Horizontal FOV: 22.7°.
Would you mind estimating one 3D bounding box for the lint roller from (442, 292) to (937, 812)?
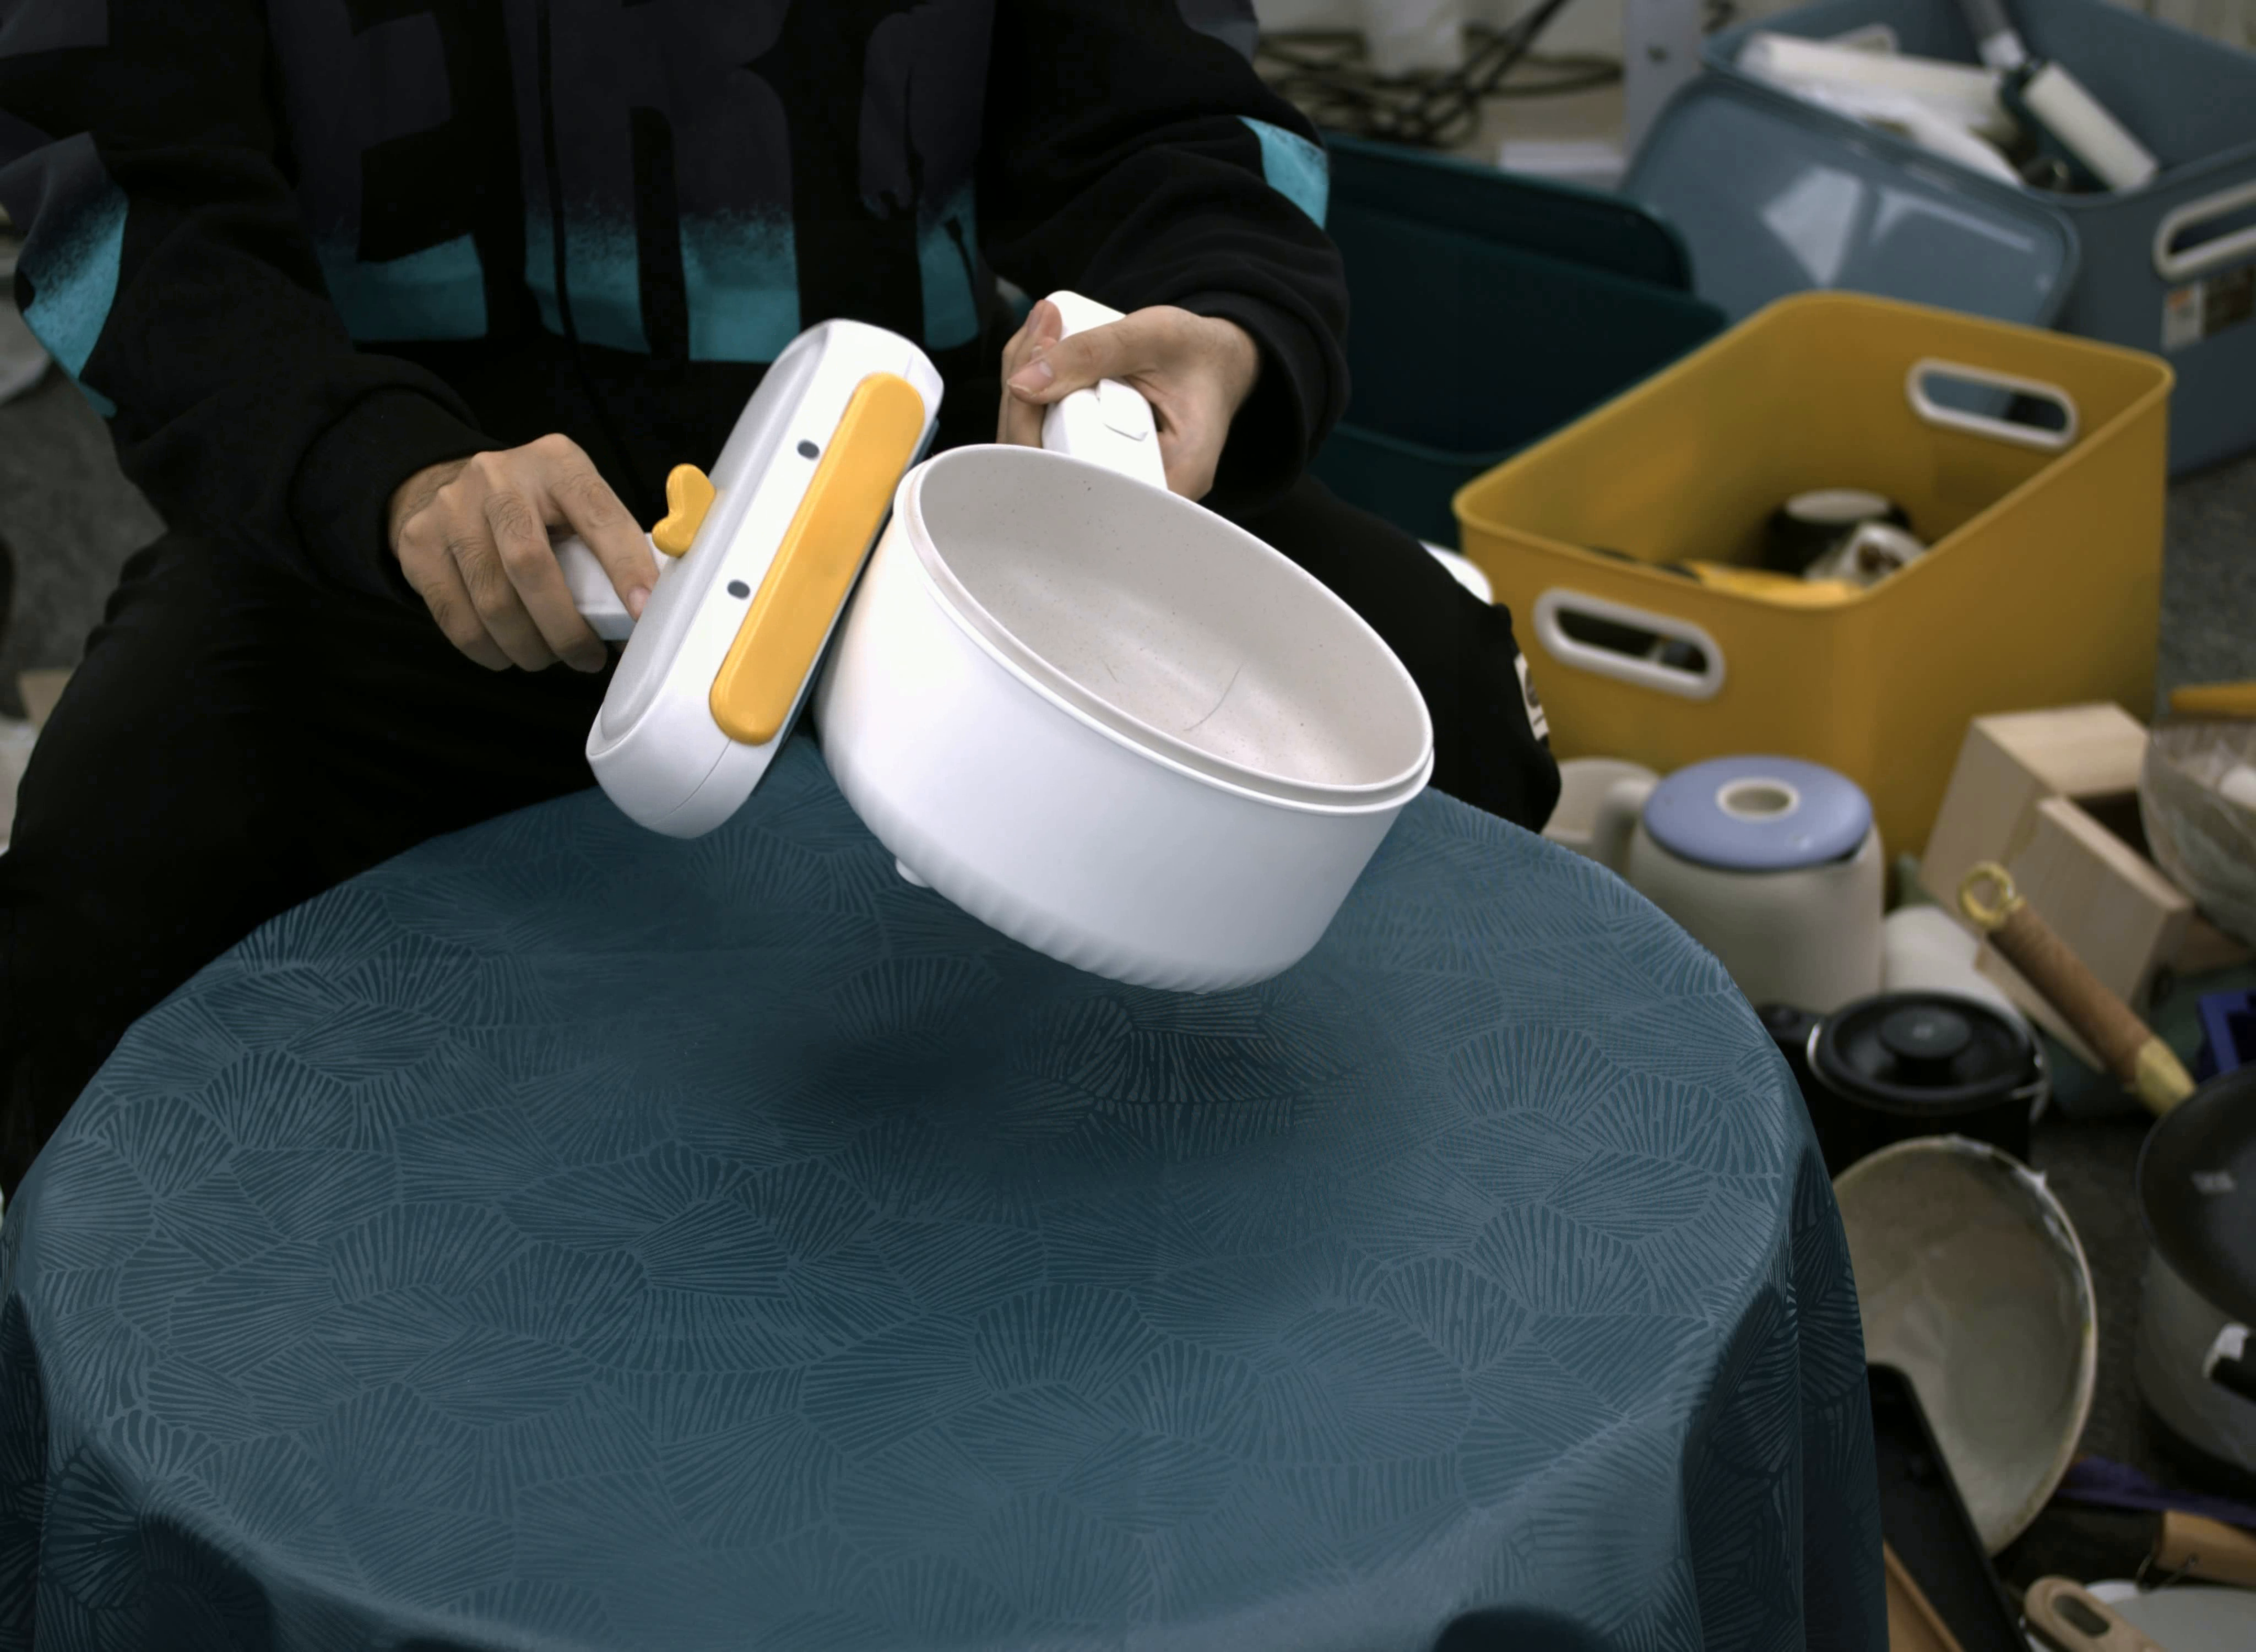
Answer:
[{"bbox_3d":[-0.160,-0.085,1.919,0.190,0.074,0.196,-18,47,48],"label":"lint roller"}]

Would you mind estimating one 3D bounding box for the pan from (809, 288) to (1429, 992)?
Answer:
[{"bbox_3d":[-0.015,-0.071,1.951,0.200,0.101,0.360,22,25,-17],"label":"pan"}]
